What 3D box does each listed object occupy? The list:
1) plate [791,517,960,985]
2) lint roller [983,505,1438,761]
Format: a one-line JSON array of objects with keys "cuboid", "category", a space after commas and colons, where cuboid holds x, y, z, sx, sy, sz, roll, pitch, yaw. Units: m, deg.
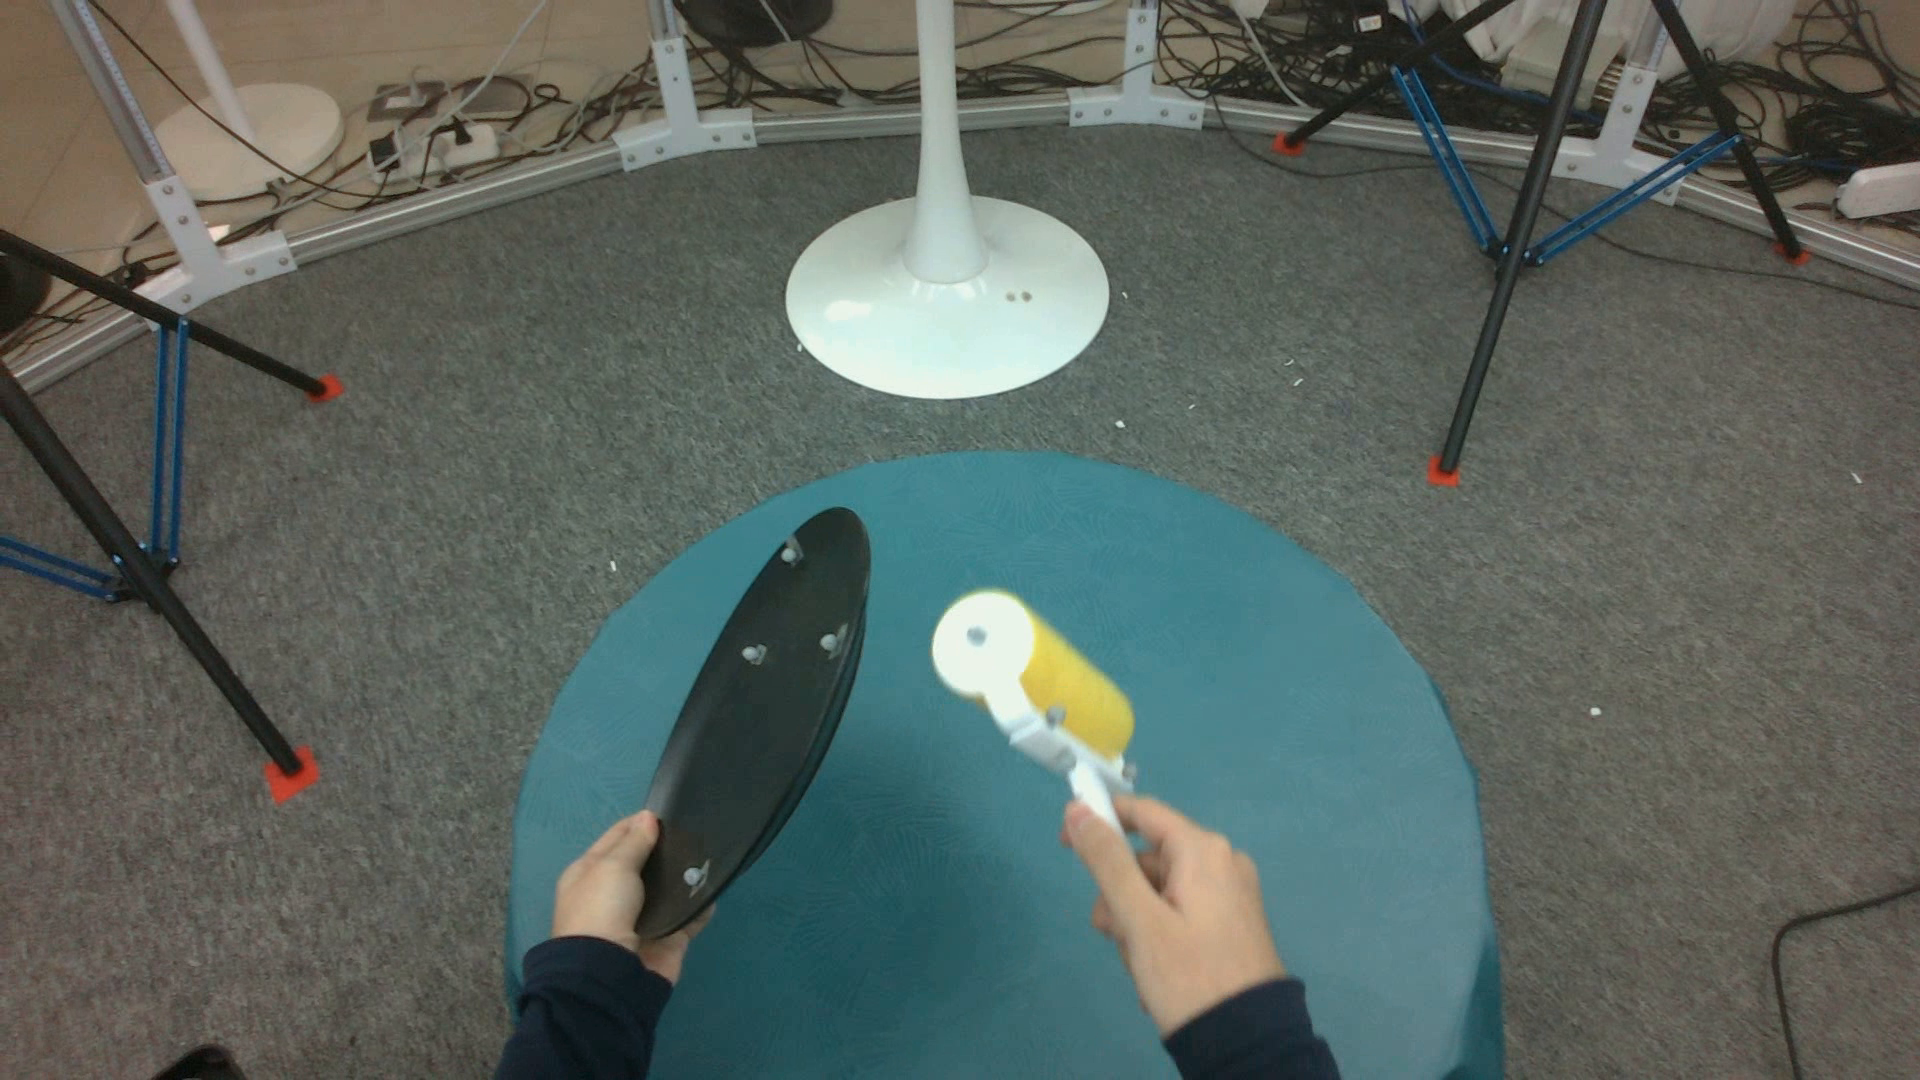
[{"cuboid": [-0.045, 0.109, 0.731, 0.023, 0.243, 0.245, -5, 47, -23], "category": "plate"}, {"cuboid": [0.126, 0.037, 0.617, 0.192, 0.174, 0.051, 22, 98, 25], "category": "lint roller"}]
